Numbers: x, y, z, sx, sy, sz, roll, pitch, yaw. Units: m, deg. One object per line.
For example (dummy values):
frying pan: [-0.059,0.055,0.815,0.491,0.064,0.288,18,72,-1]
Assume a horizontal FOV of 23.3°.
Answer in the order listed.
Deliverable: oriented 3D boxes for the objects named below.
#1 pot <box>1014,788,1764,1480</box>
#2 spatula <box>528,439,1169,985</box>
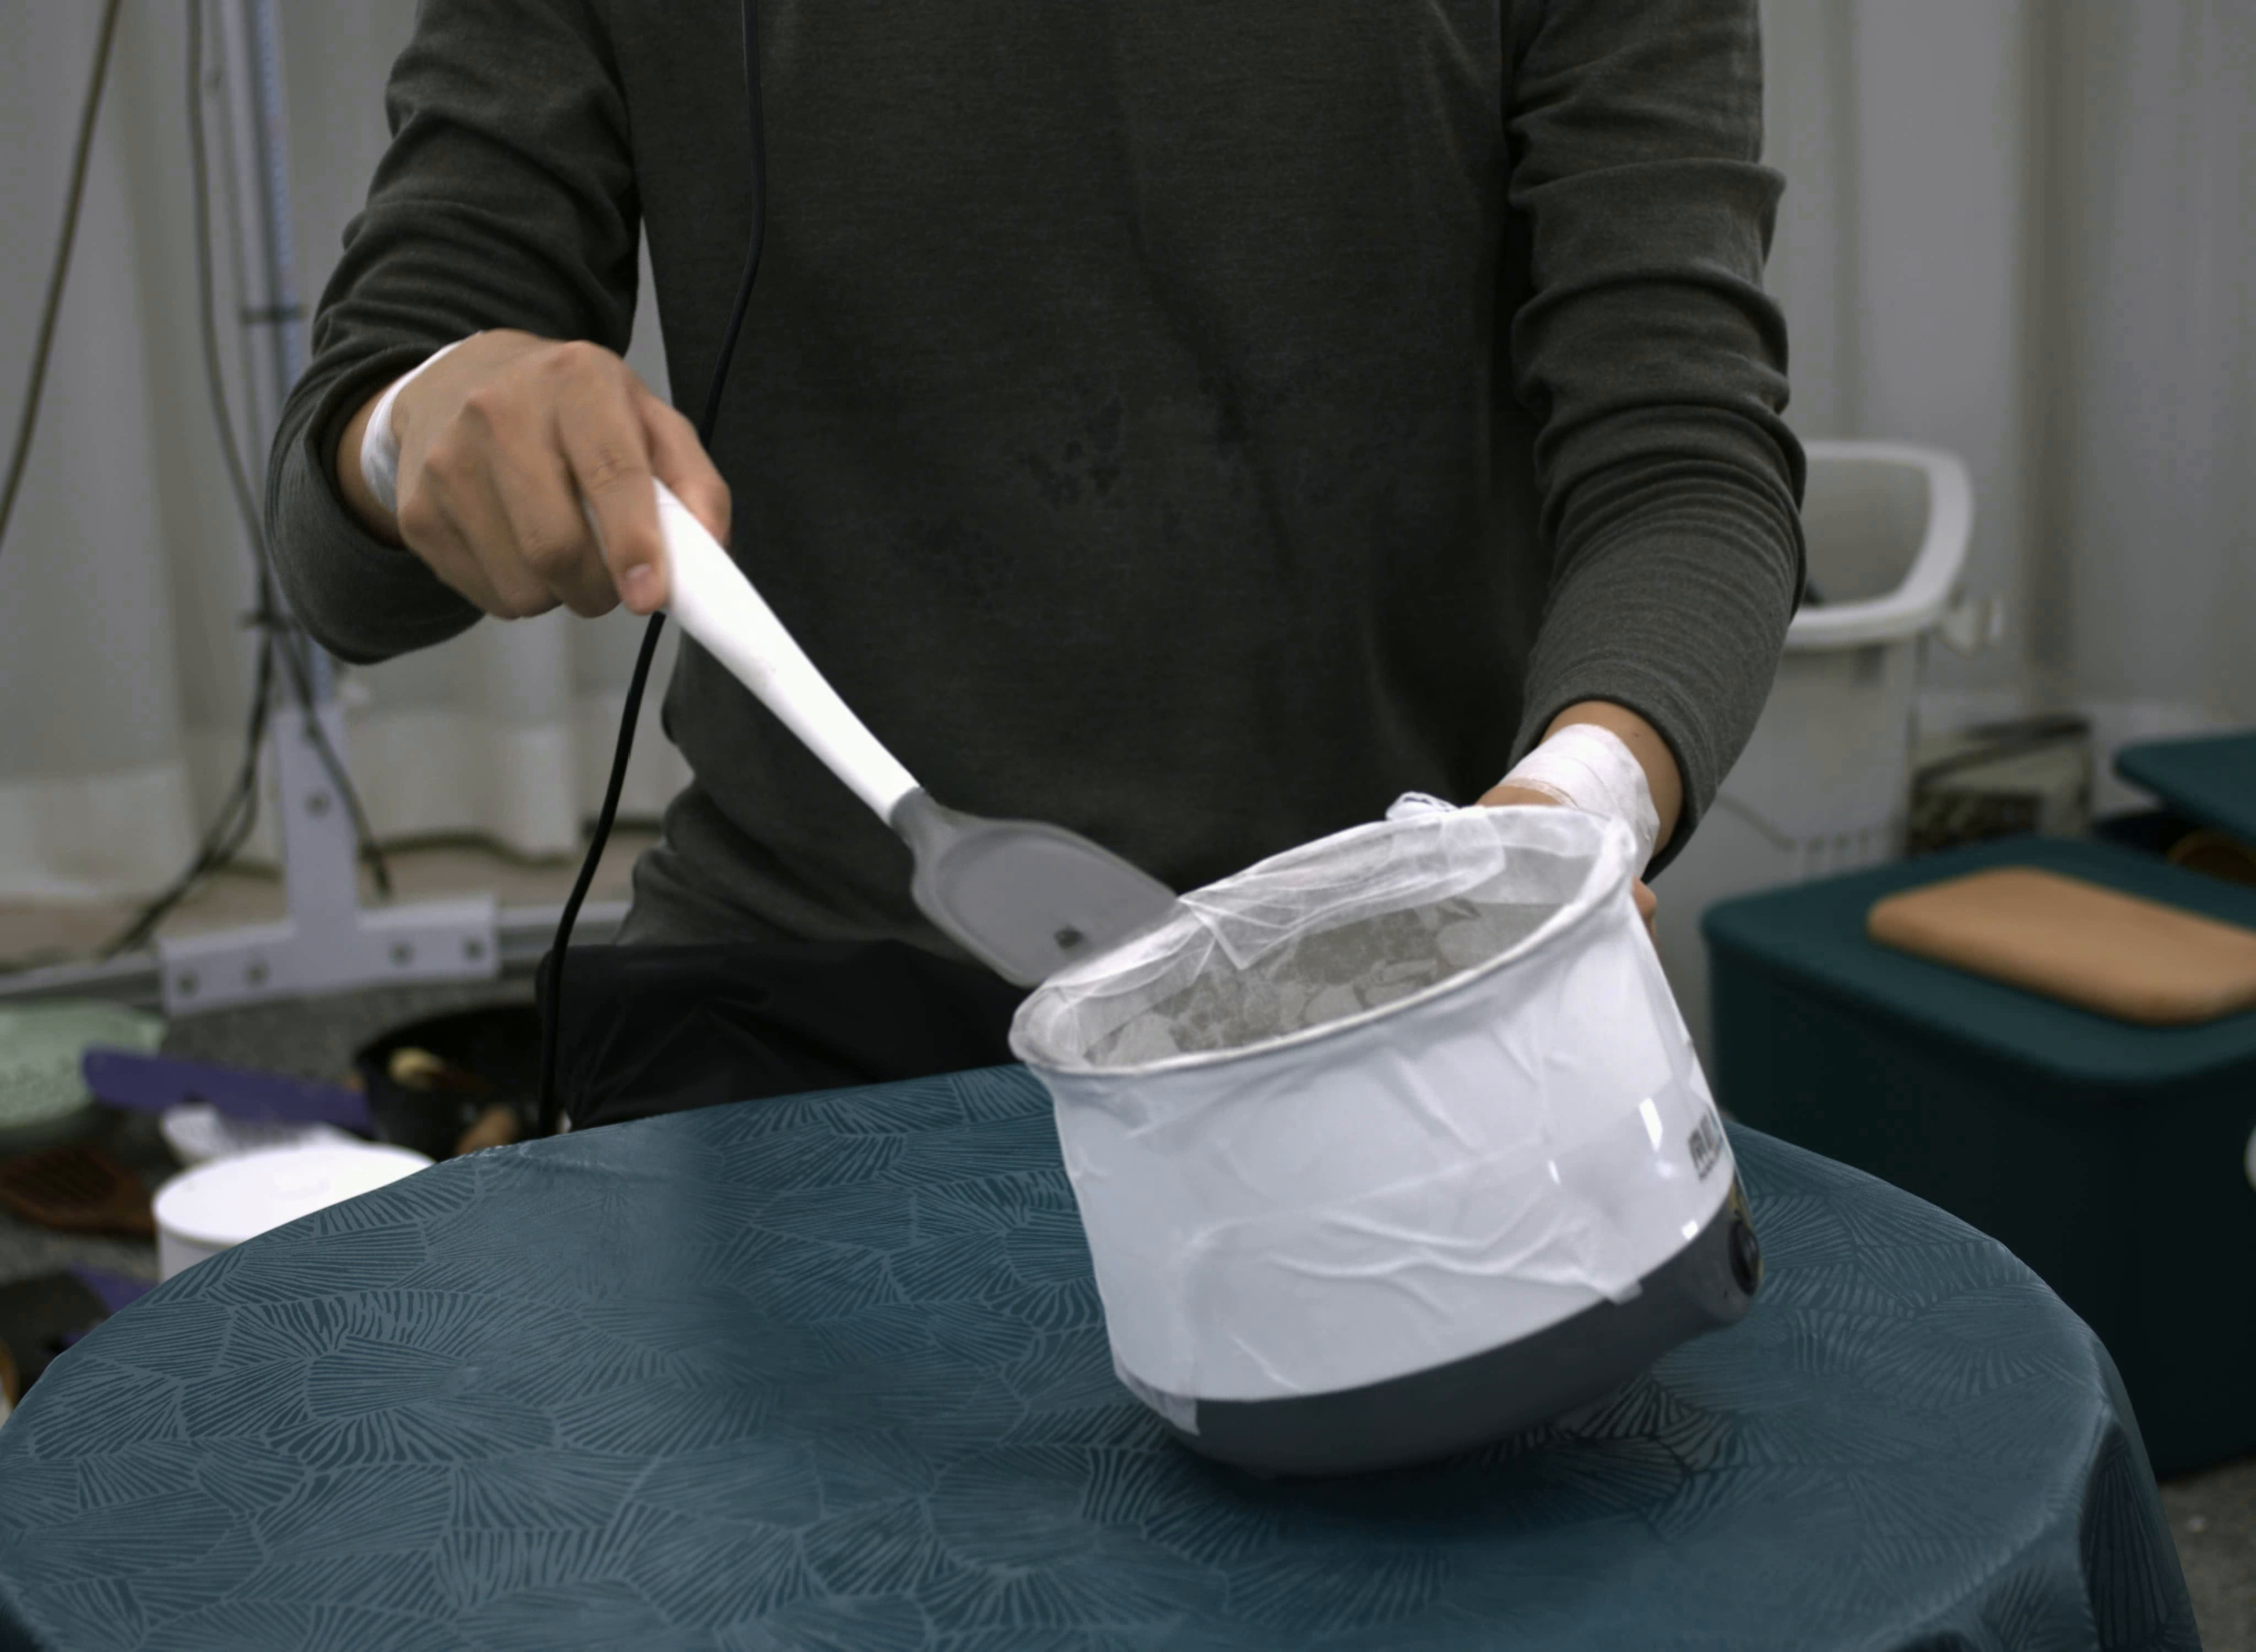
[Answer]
pot: [0.080,0.077,1.511,0.178,0.136,0.235,-12,15,21]
spatula: [-0.085,-0.033,1.528,0.058,0.032,0.291,-27,42,-22]
